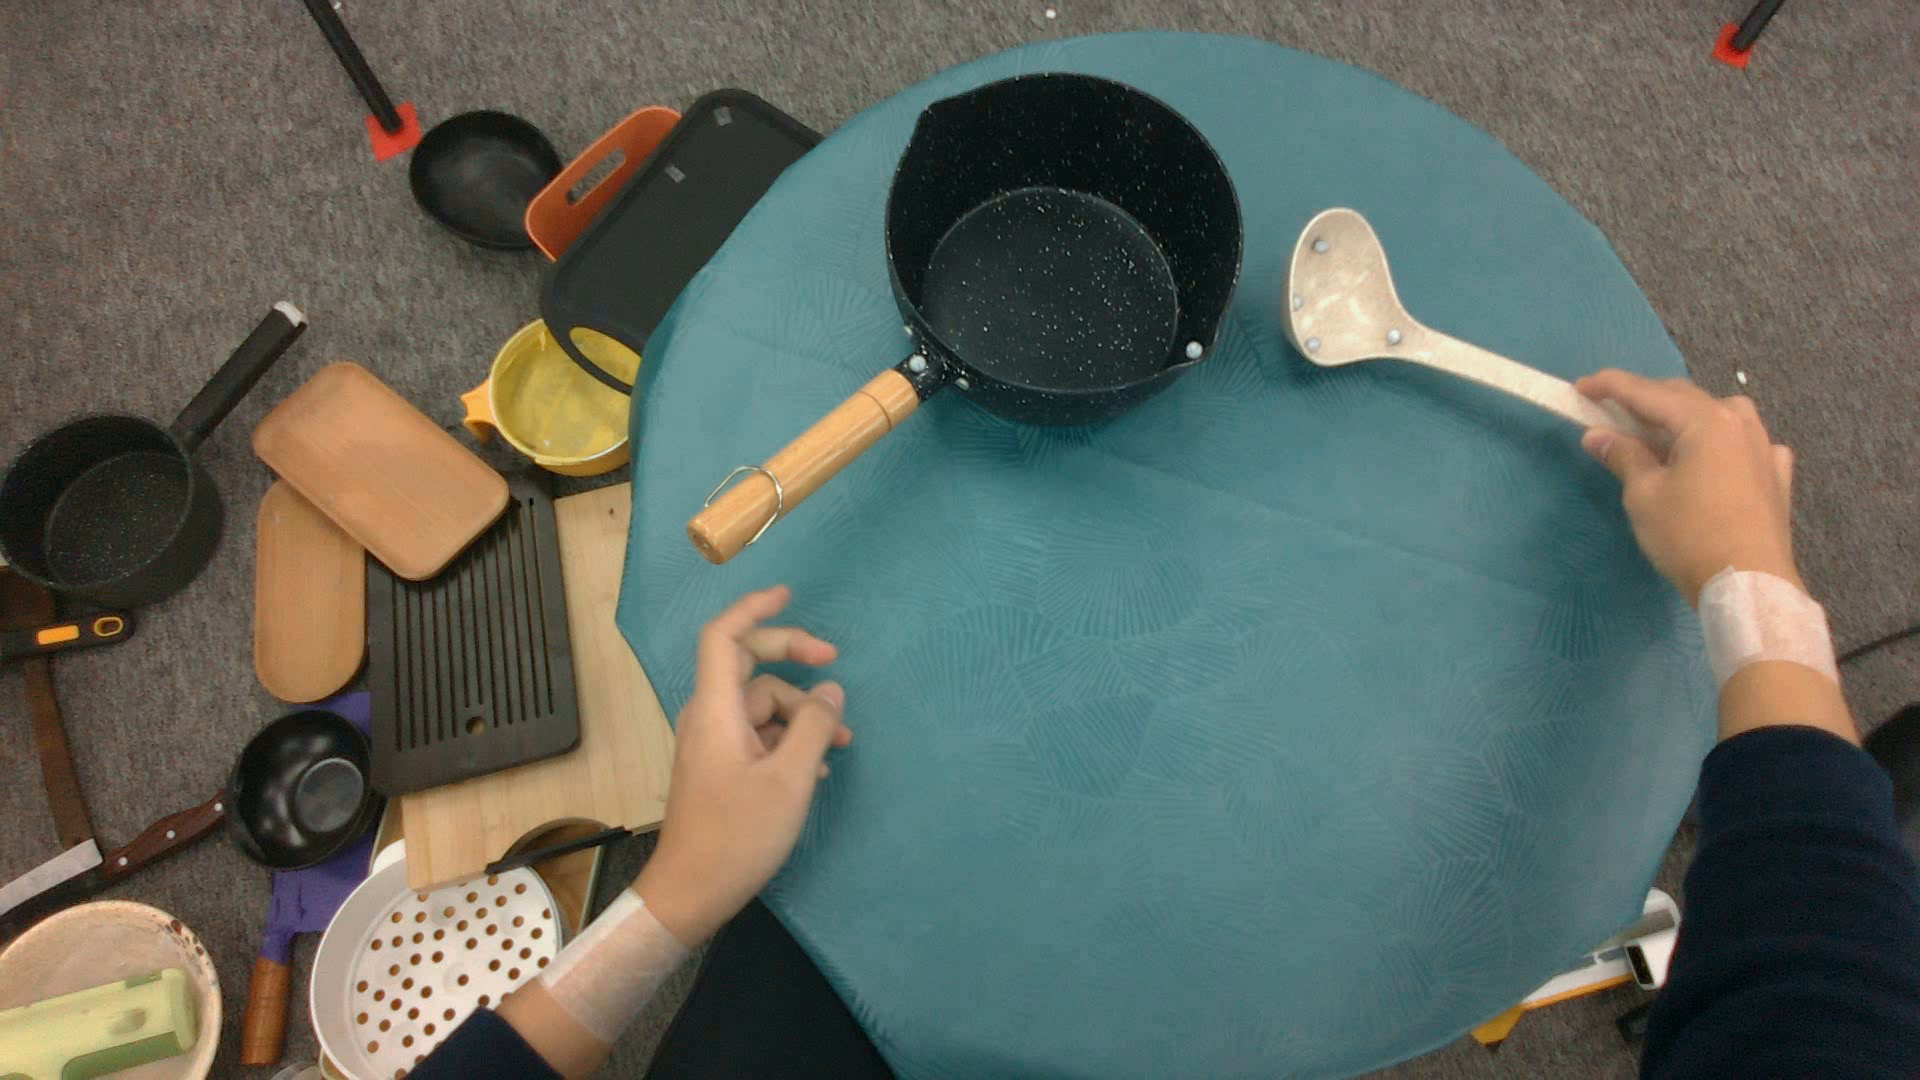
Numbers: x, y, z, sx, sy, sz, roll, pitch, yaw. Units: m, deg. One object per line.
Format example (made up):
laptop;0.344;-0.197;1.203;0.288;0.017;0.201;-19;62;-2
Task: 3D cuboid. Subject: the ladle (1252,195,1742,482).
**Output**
ladle;0.287;-0.104;0.728;0.275;0.069;0.090;24;62;15

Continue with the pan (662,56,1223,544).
pan;-0.013;-0.104;0.710;0.207;0.108;0.344;42;73;9
